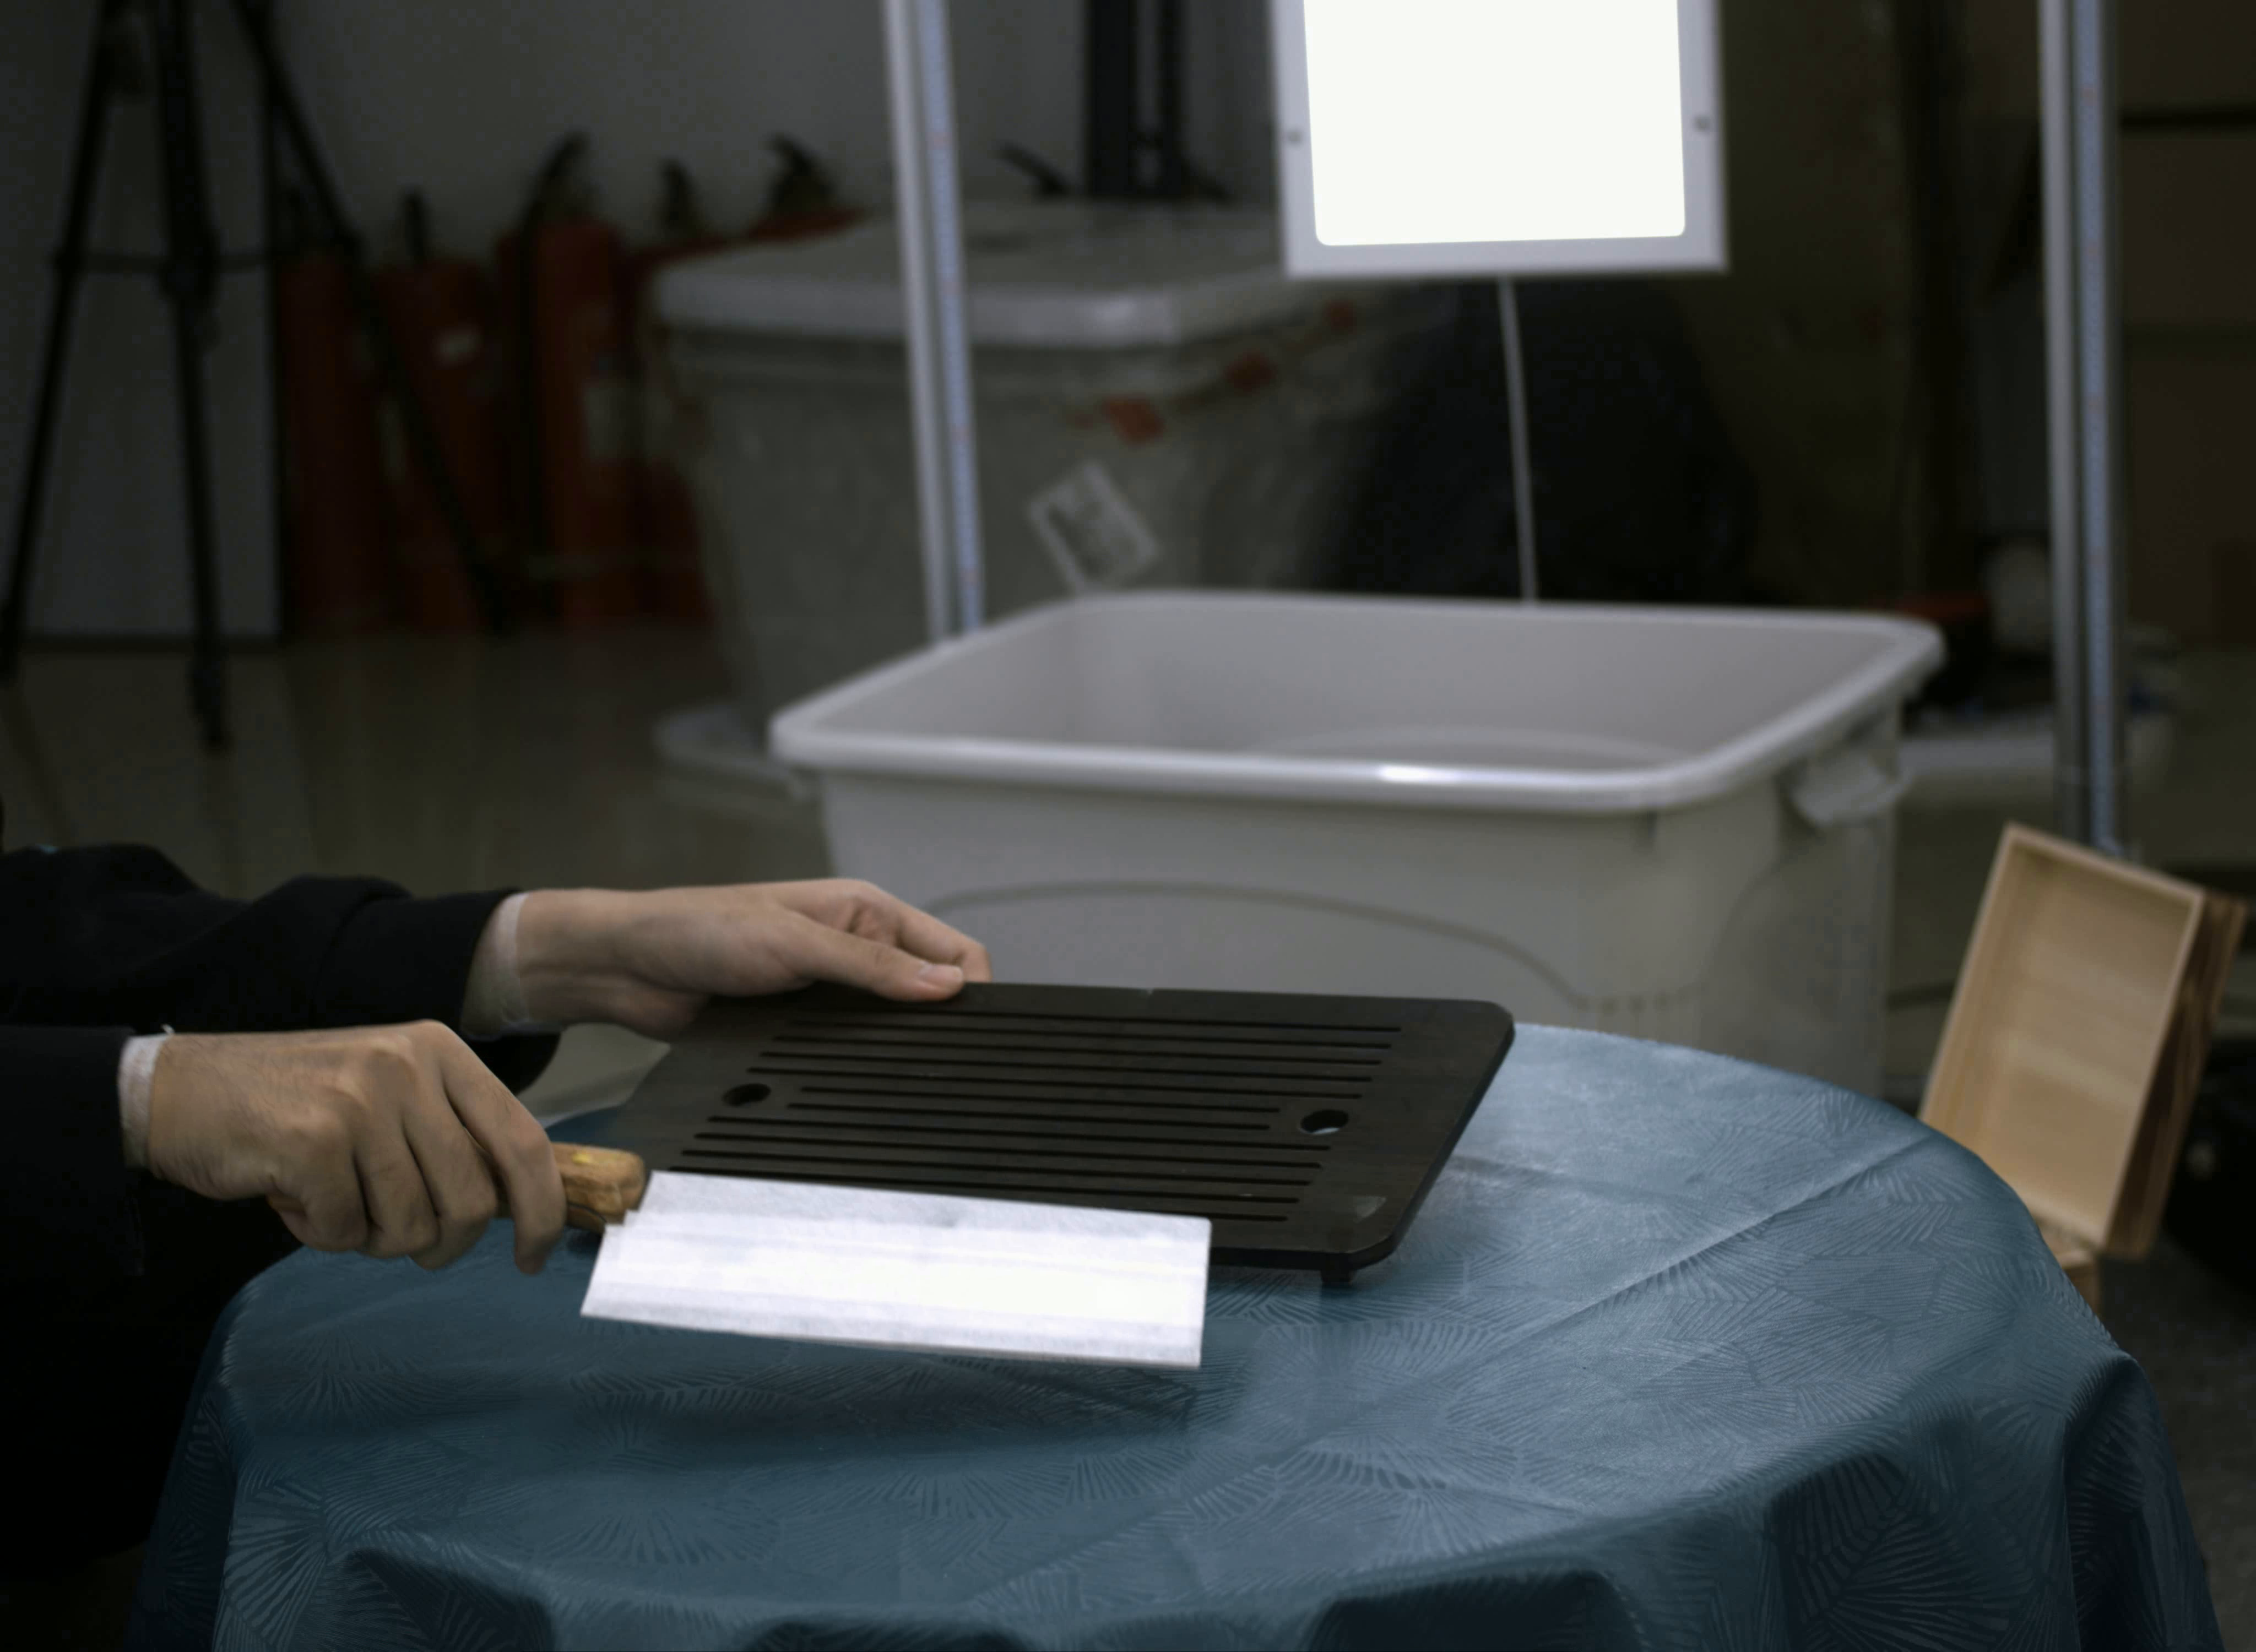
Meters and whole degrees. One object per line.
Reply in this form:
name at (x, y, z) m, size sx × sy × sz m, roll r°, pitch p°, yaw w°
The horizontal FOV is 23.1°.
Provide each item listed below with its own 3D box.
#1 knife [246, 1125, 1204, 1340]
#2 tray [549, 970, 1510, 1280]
knife at (-0.128, 0.130, 1.716) m, size 0.305 × 0.021 × 0.092 m, roll 4°, pitch 27°, yaw 3°
tray at (-0.033, 0.101, 1.901) m, size 0.310 × 0.018 × 0.167 m, roll 1°, pitch 28°, yaw 24°
